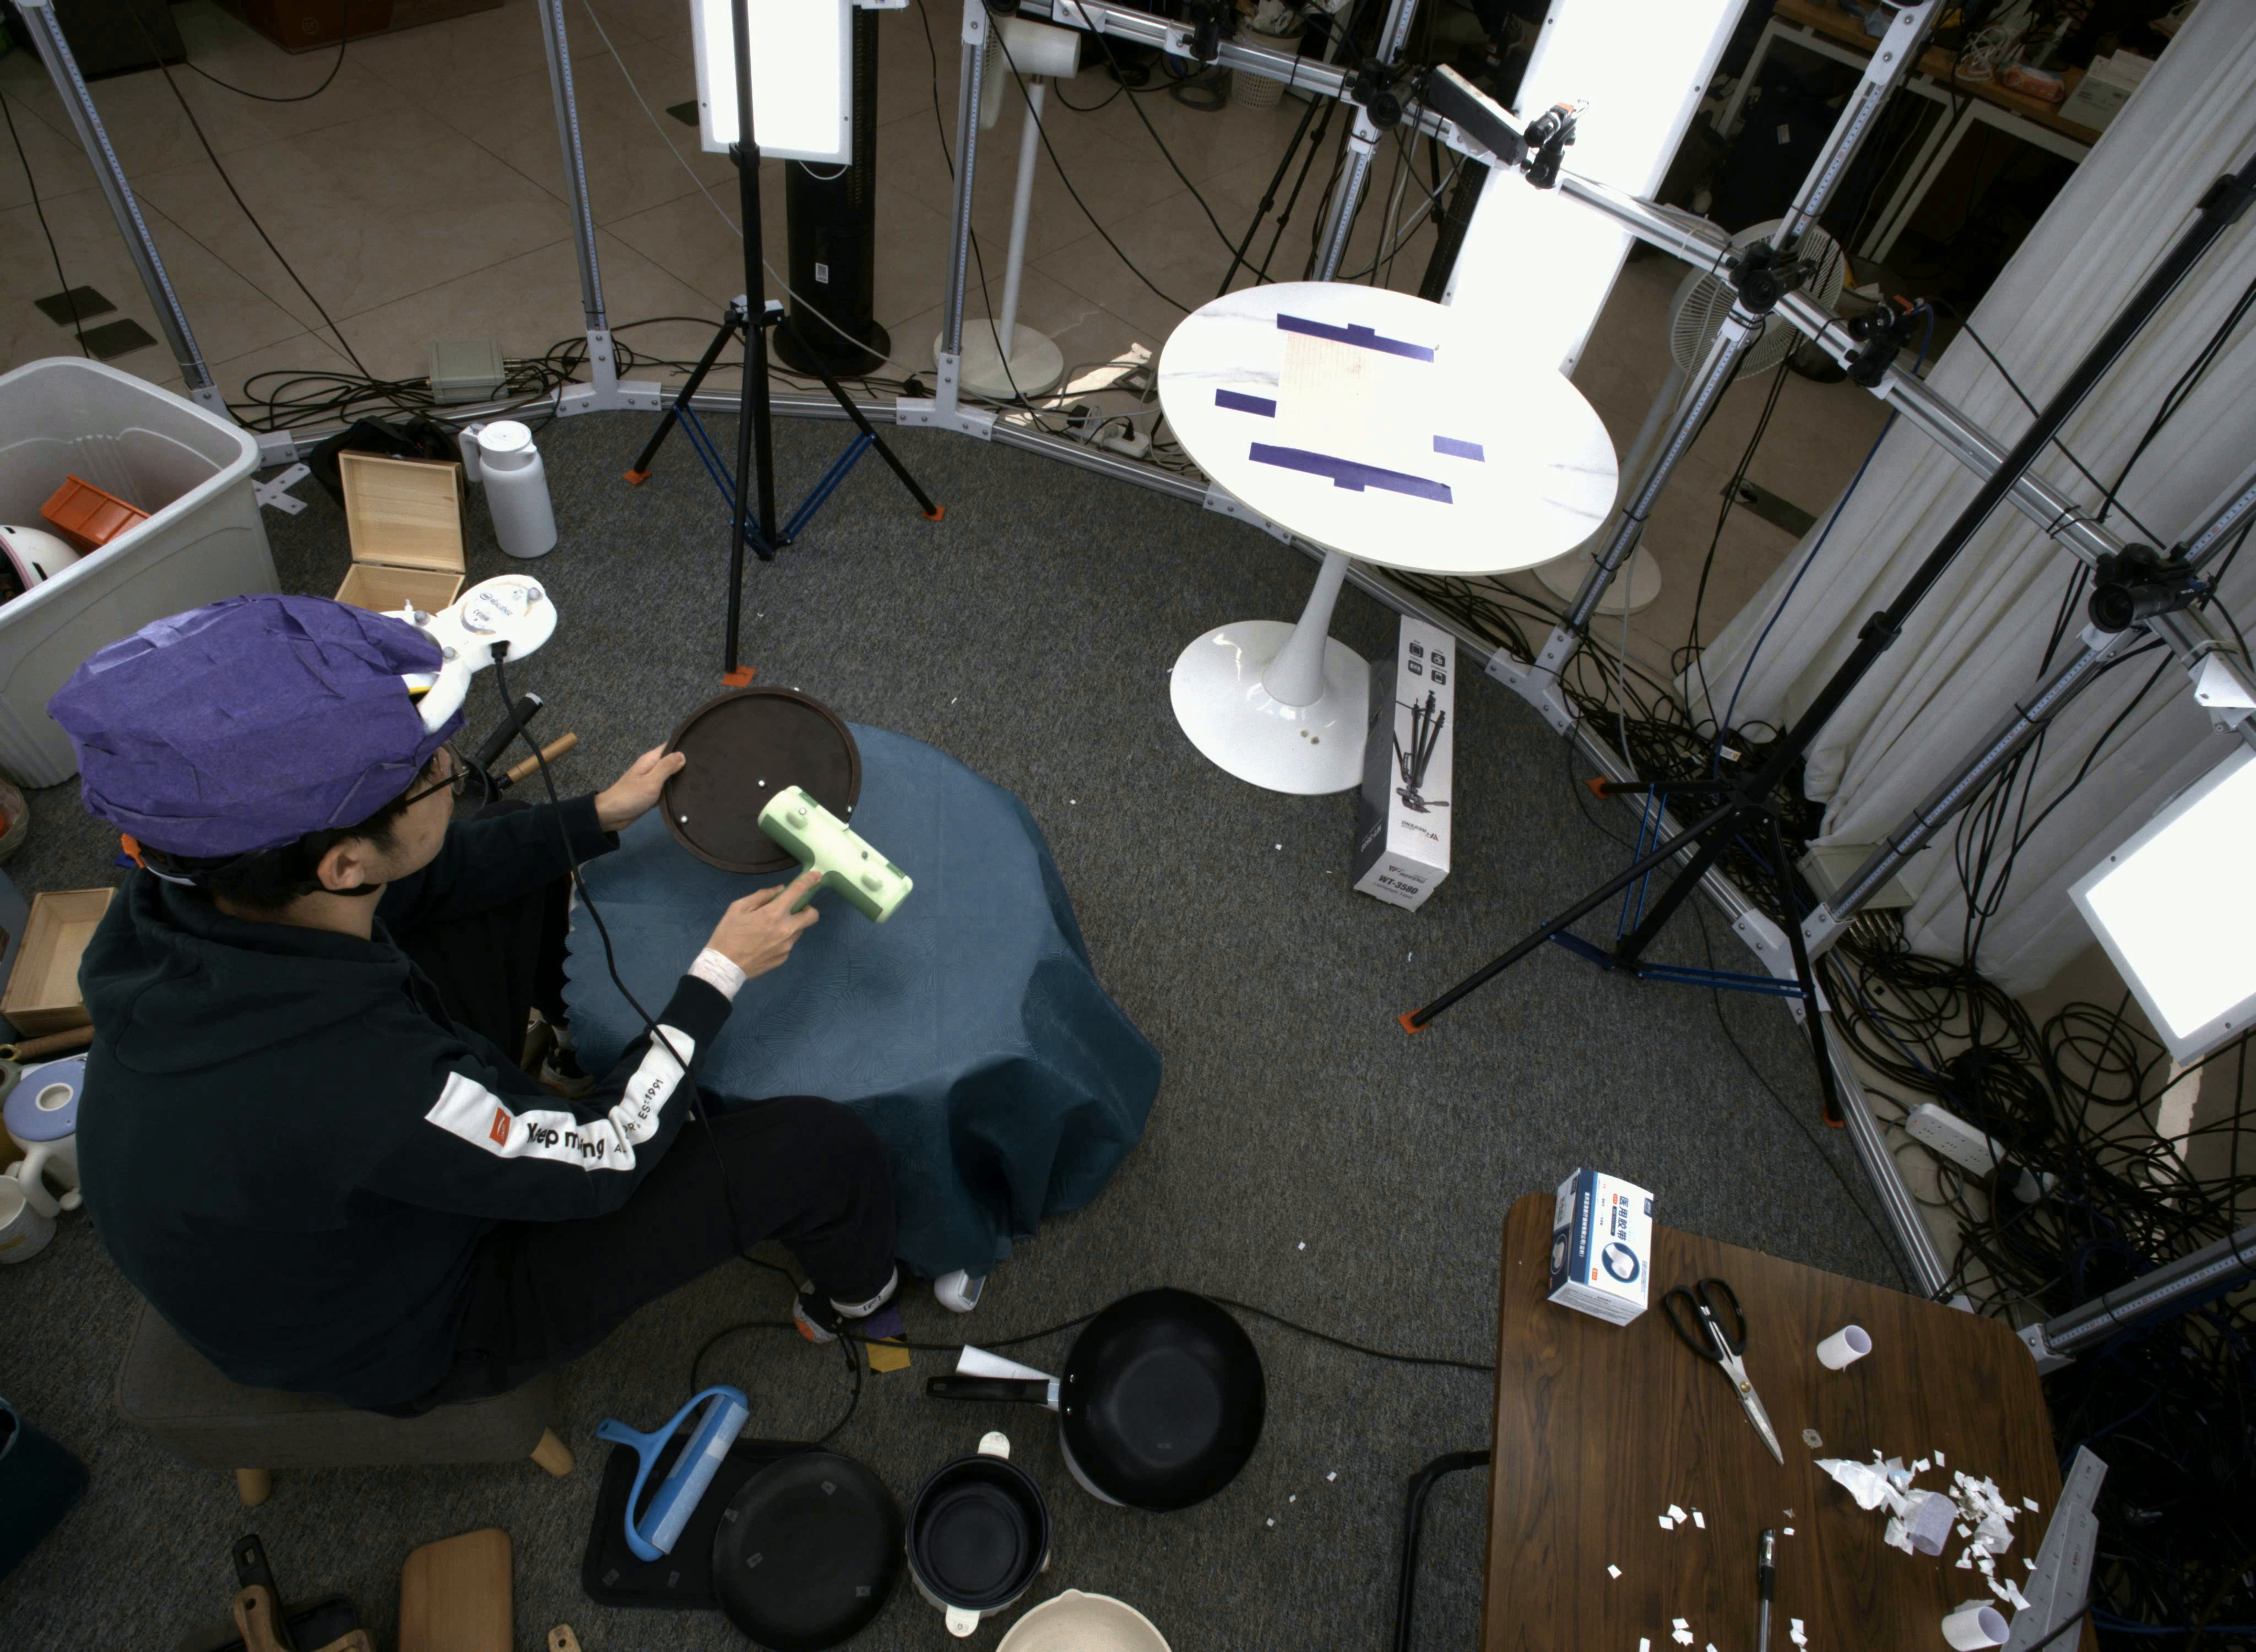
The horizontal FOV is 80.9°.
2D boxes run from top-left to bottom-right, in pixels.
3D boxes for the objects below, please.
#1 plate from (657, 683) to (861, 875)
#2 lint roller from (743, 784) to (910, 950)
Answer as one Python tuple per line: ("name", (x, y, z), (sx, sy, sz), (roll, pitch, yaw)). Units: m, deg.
("plate", (-0.459, -0.060, 1.610), (0.253, 0.029, 0.253), (3, 71, -7))
("lint roller", (-0.382, 0.066, 1.519), (0.199, 0.082, 0.183), (40, 54, -3))
